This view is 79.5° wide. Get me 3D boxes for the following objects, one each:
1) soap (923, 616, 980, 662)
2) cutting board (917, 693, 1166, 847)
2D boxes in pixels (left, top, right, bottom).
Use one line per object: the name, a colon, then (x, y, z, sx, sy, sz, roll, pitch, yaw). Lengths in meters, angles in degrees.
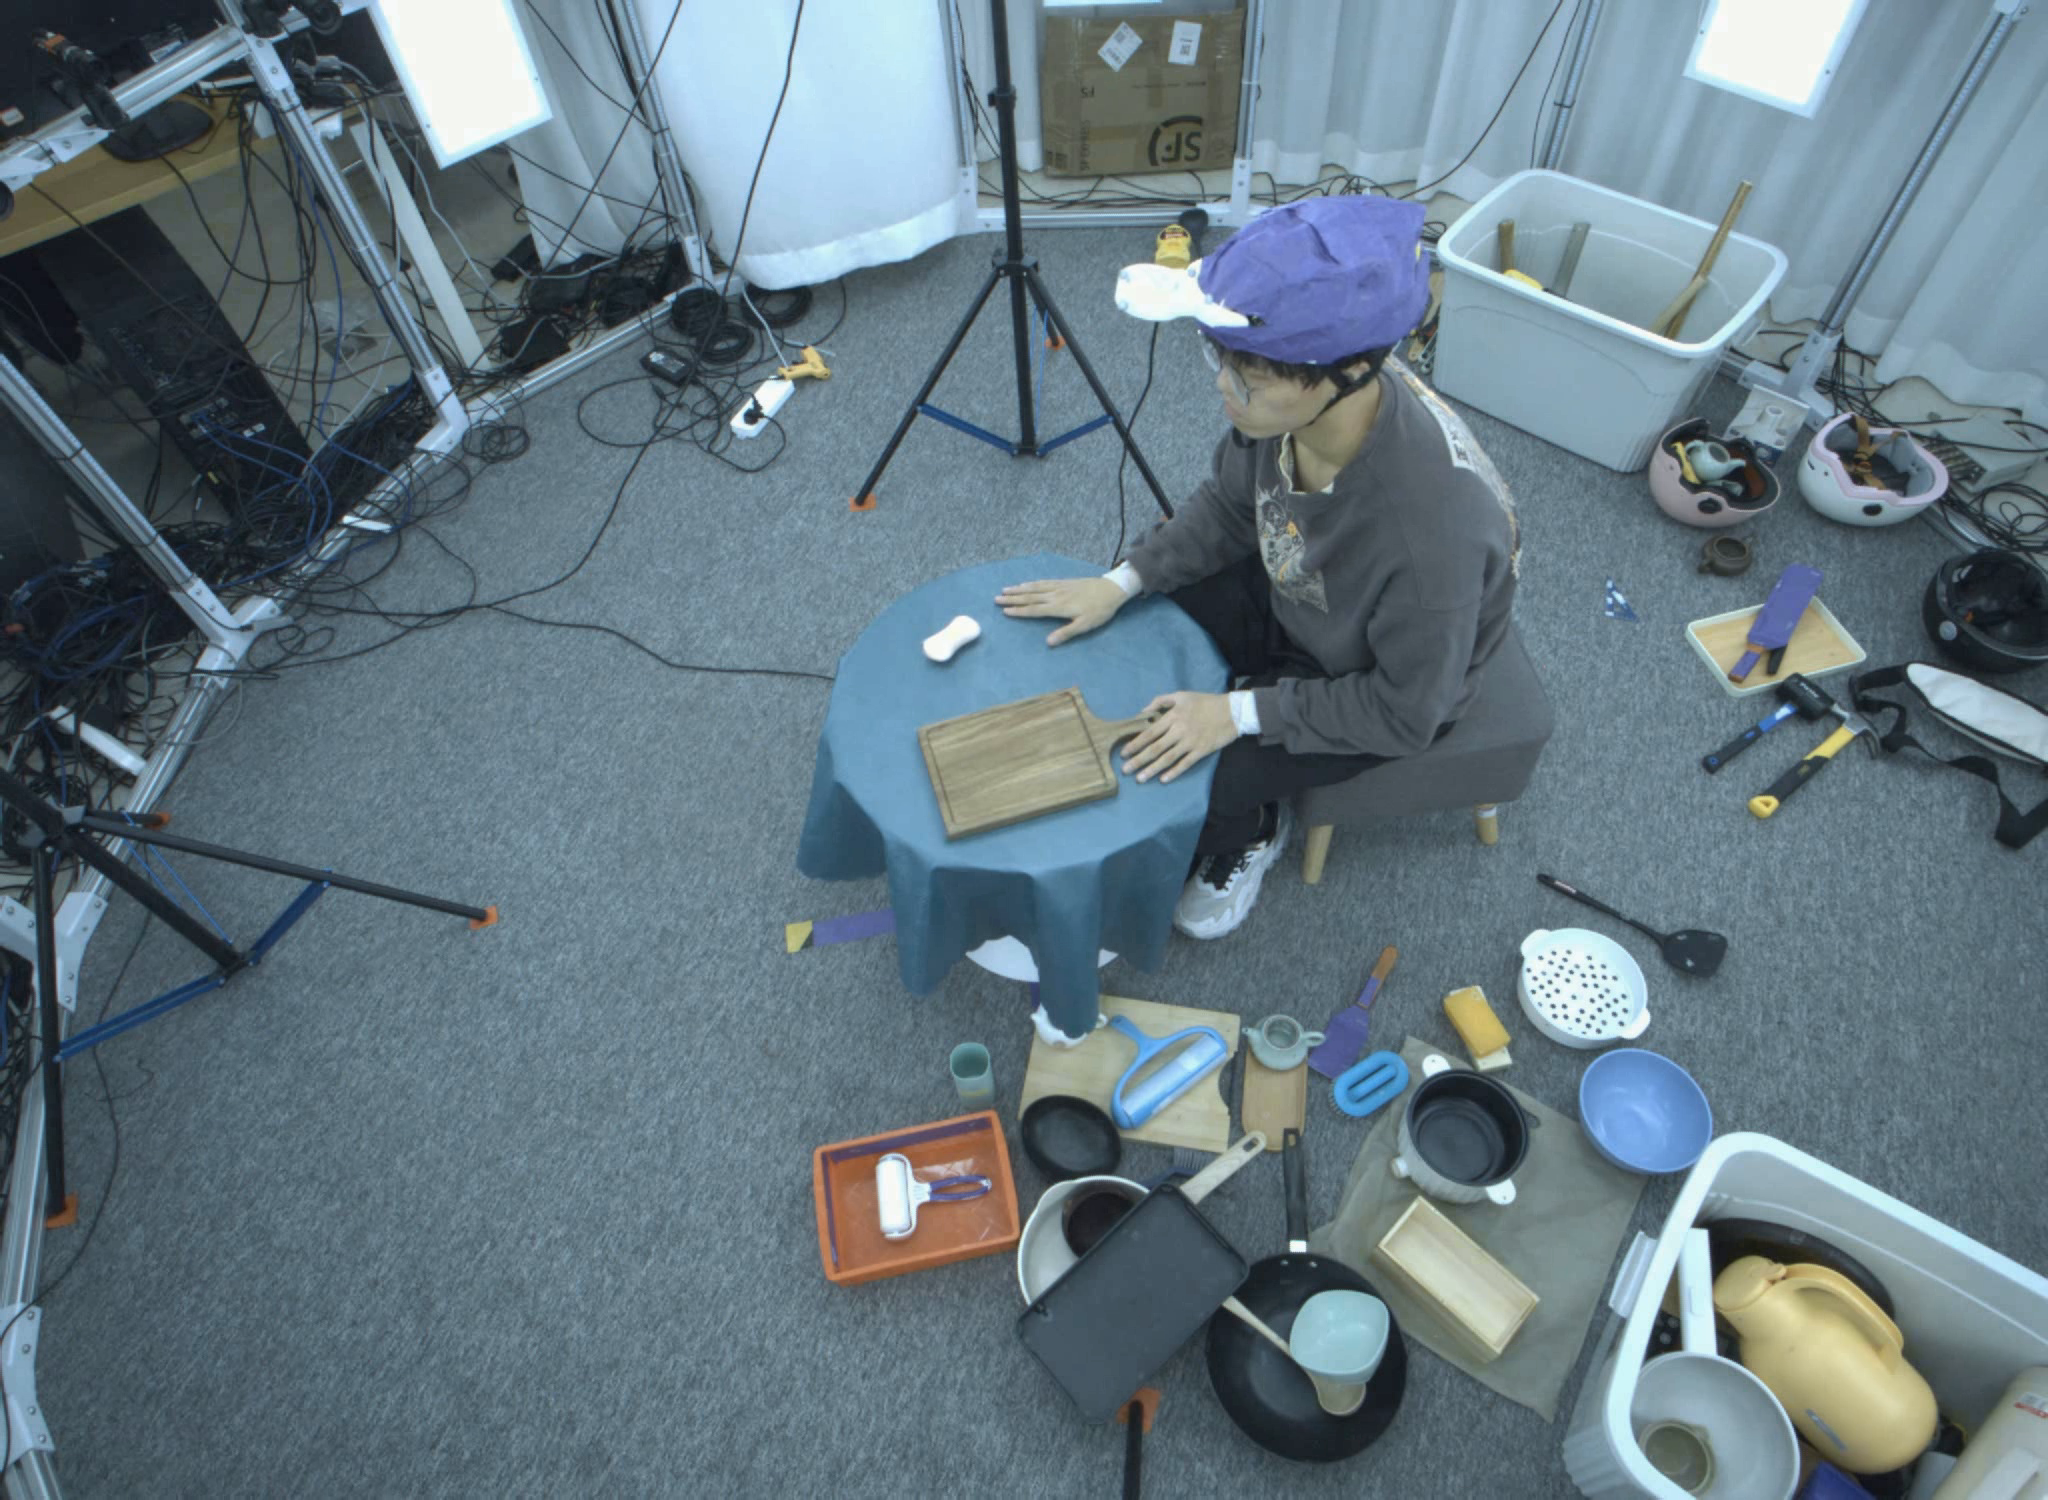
soap: (-0.112, -0.172, 1.895, 0.095, 0.031, 0.049, -39, 62, -25)
cutting board: (0.036, 0.012, 1.762, 0.354, 0.023, 0.198, -14, 55, -8)
